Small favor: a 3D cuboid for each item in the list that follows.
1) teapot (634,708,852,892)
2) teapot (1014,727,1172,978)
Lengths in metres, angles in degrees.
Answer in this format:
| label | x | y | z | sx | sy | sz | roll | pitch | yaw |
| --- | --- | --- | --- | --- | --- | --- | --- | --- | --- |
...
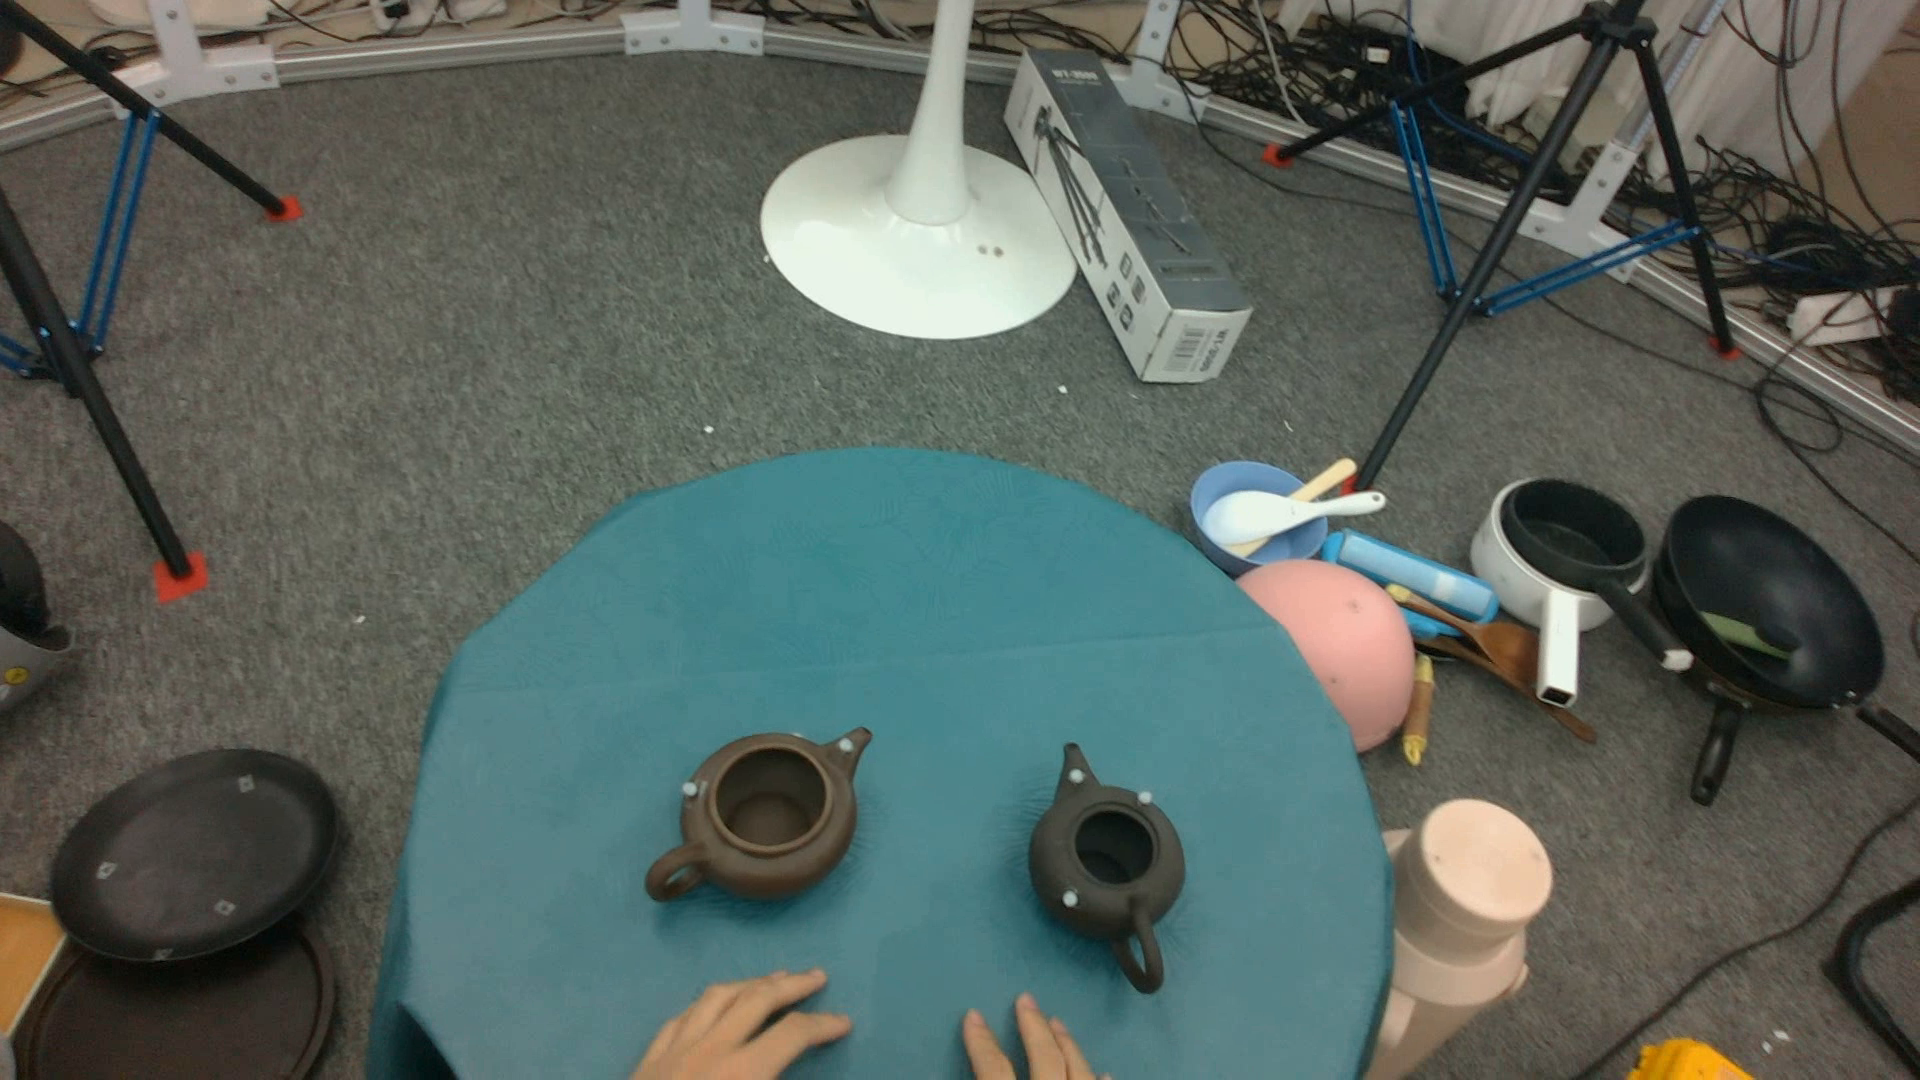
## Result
| label | x | y | z | sx | sy | sz | roll | pitch | yaw |
| --- | --- | --- | --- | --- | --- | --- | --- | --- | --- |
| teapot | -0.123 | 0.153 | 0.800 | 0.102 | 0.053 | 0.154 | 38 | 53 | 22 |
| teapot | 0.078 | 0.184 | 0.810 | 0.092 | 0.064 | 0.155 | -9 | 53 | -16 |
